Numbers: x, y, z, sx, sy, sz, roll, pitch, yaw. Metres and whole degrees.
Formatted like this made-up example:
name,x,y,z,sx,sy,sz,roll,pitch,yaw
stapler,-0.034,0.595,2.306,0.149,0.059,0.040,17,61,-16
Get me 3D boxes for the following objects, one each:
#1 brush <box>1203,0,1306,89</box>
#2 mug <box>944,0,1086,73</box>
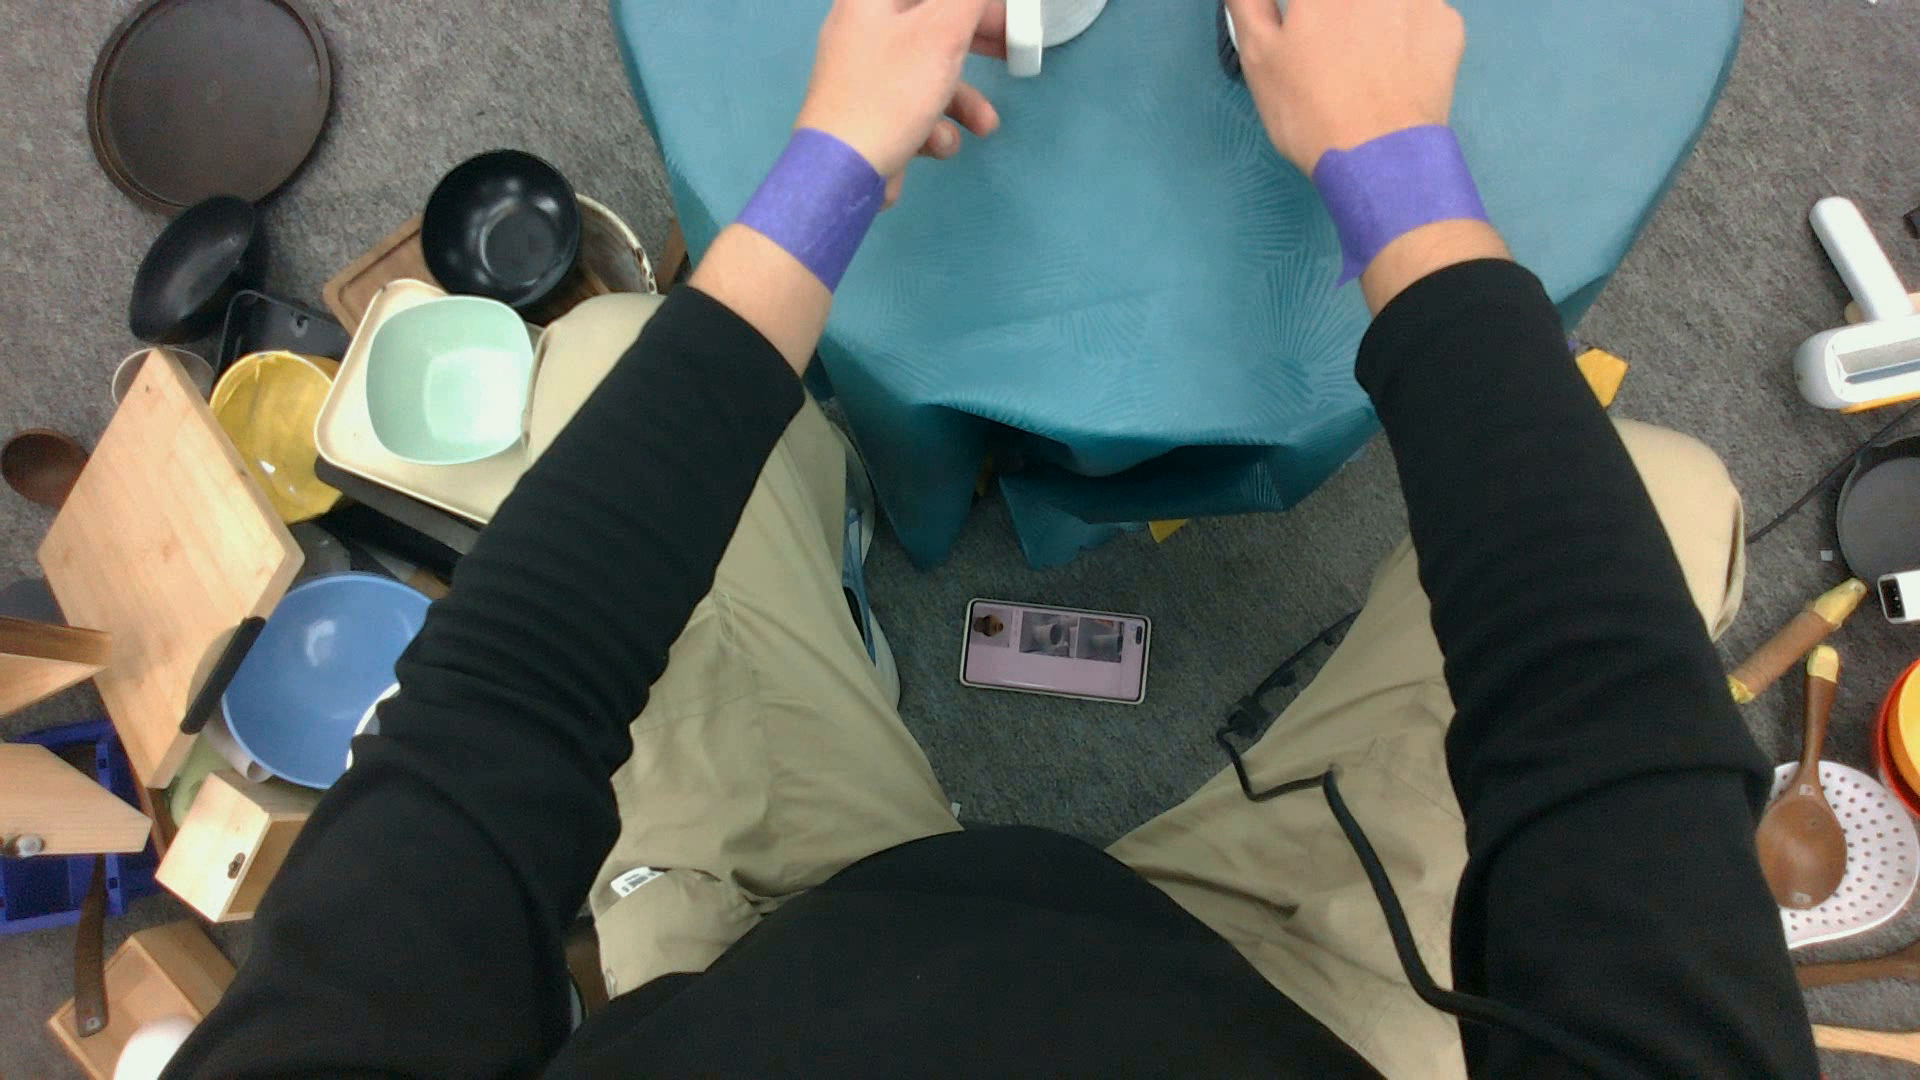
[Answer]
name,x,y,z,sx,sy,sz,roll,pitch,yaw
brush,0.148,-0.286,0.684,0.050,0.072,0.099,2,83,6
mug,0.026,-0.289,0.678,0.085,0.102,0.118,2,85,4
